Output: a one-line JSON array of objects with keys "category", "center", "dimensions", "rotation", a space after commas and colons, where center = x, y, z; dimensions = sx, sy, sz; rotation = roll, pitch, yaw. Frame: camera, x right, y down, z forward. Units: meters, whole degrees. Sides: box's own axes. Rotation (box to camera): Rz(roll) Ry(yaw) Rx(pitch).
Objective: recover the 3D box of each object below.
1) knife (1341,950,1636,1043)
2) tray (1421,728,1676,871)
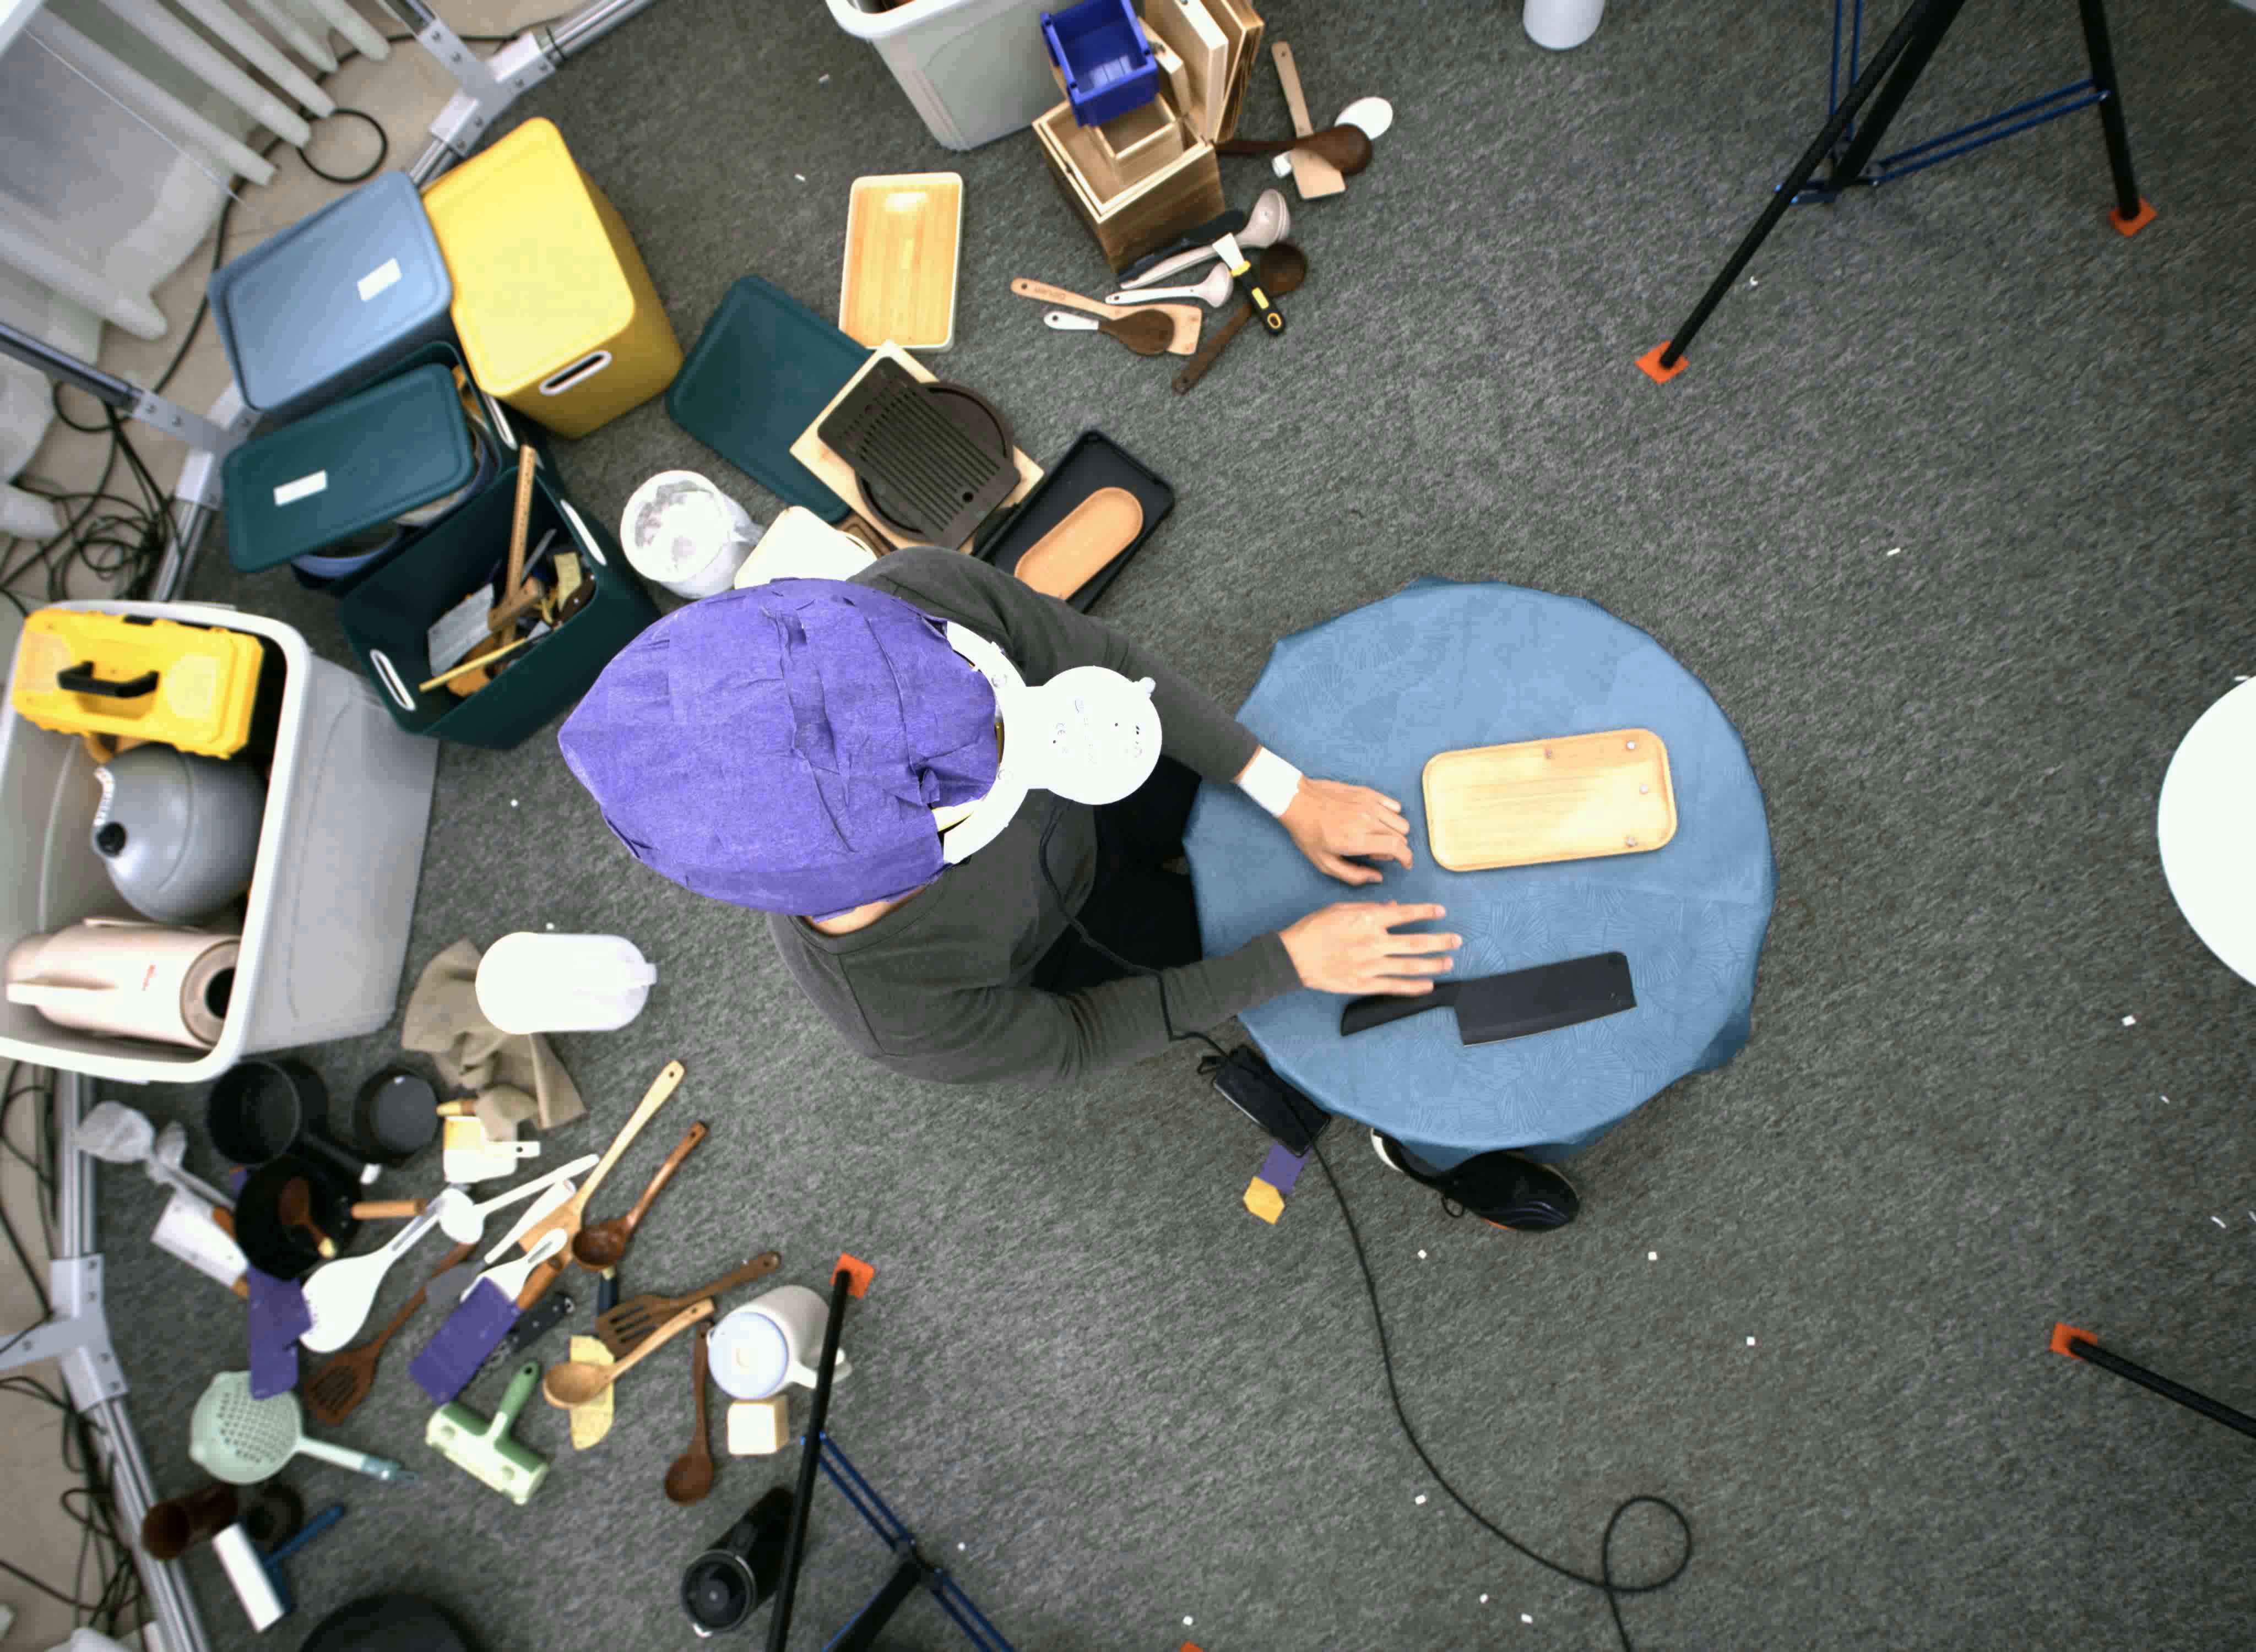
[{"category": "knife", "center": [0.371, 0.183, 1.428], "dimensions": [0.303, 0.021, 0.080], "rotation": [-8, 86, 8]}, {"category": "tray", "center": [0.435, -0.029, 1.426], "dimensions": [0.252, 0.023, 0.129], "rotation": [-6, 83, 11]}]
